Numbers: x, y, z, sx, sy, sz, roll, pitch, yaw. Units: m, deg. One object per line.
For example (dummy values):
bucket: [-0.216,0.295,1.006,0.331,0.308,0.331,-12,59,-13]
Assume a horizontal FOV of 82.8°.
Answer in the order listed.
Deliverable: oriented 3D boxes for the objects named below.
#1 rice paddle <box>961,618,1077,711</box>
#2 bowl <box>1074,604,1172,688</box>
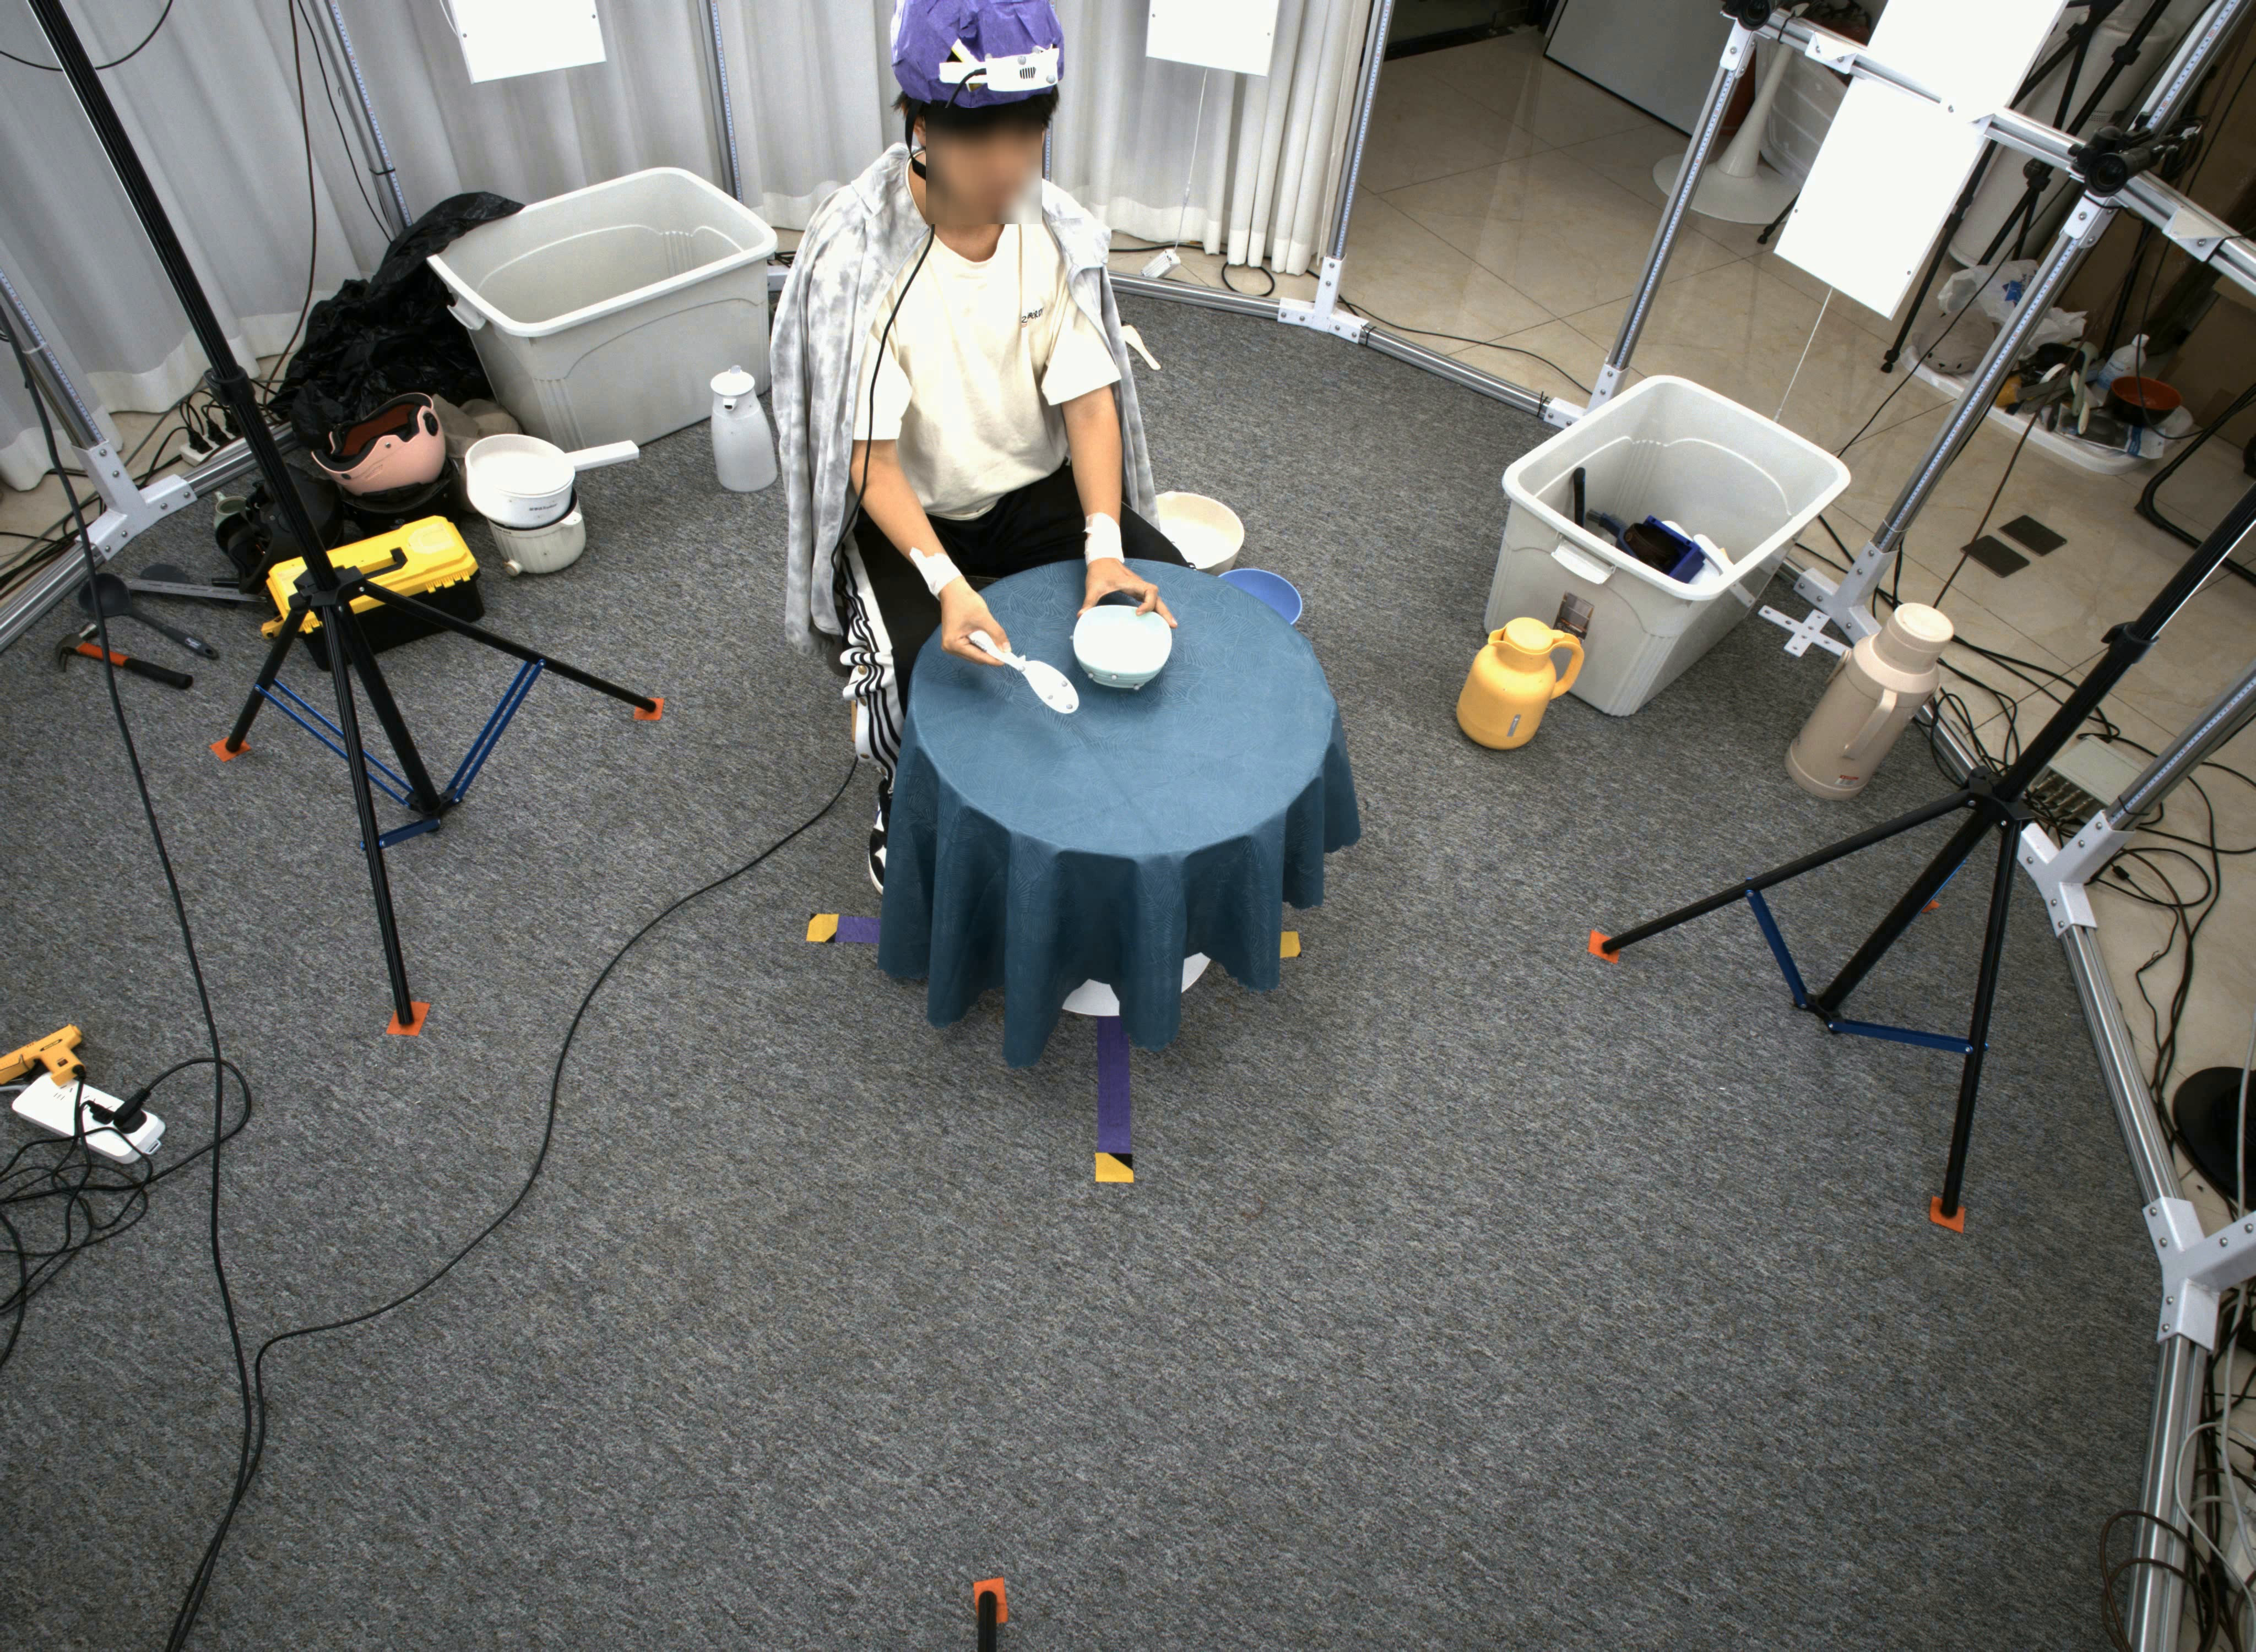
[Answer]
rice paddle: [-0.146,-0.220,1.751,0.208,0.067,0.030,37,56,23]
bowl: [-0.008,-0.250,1.841,0.151,0.057,0.155,1,51,-2]
